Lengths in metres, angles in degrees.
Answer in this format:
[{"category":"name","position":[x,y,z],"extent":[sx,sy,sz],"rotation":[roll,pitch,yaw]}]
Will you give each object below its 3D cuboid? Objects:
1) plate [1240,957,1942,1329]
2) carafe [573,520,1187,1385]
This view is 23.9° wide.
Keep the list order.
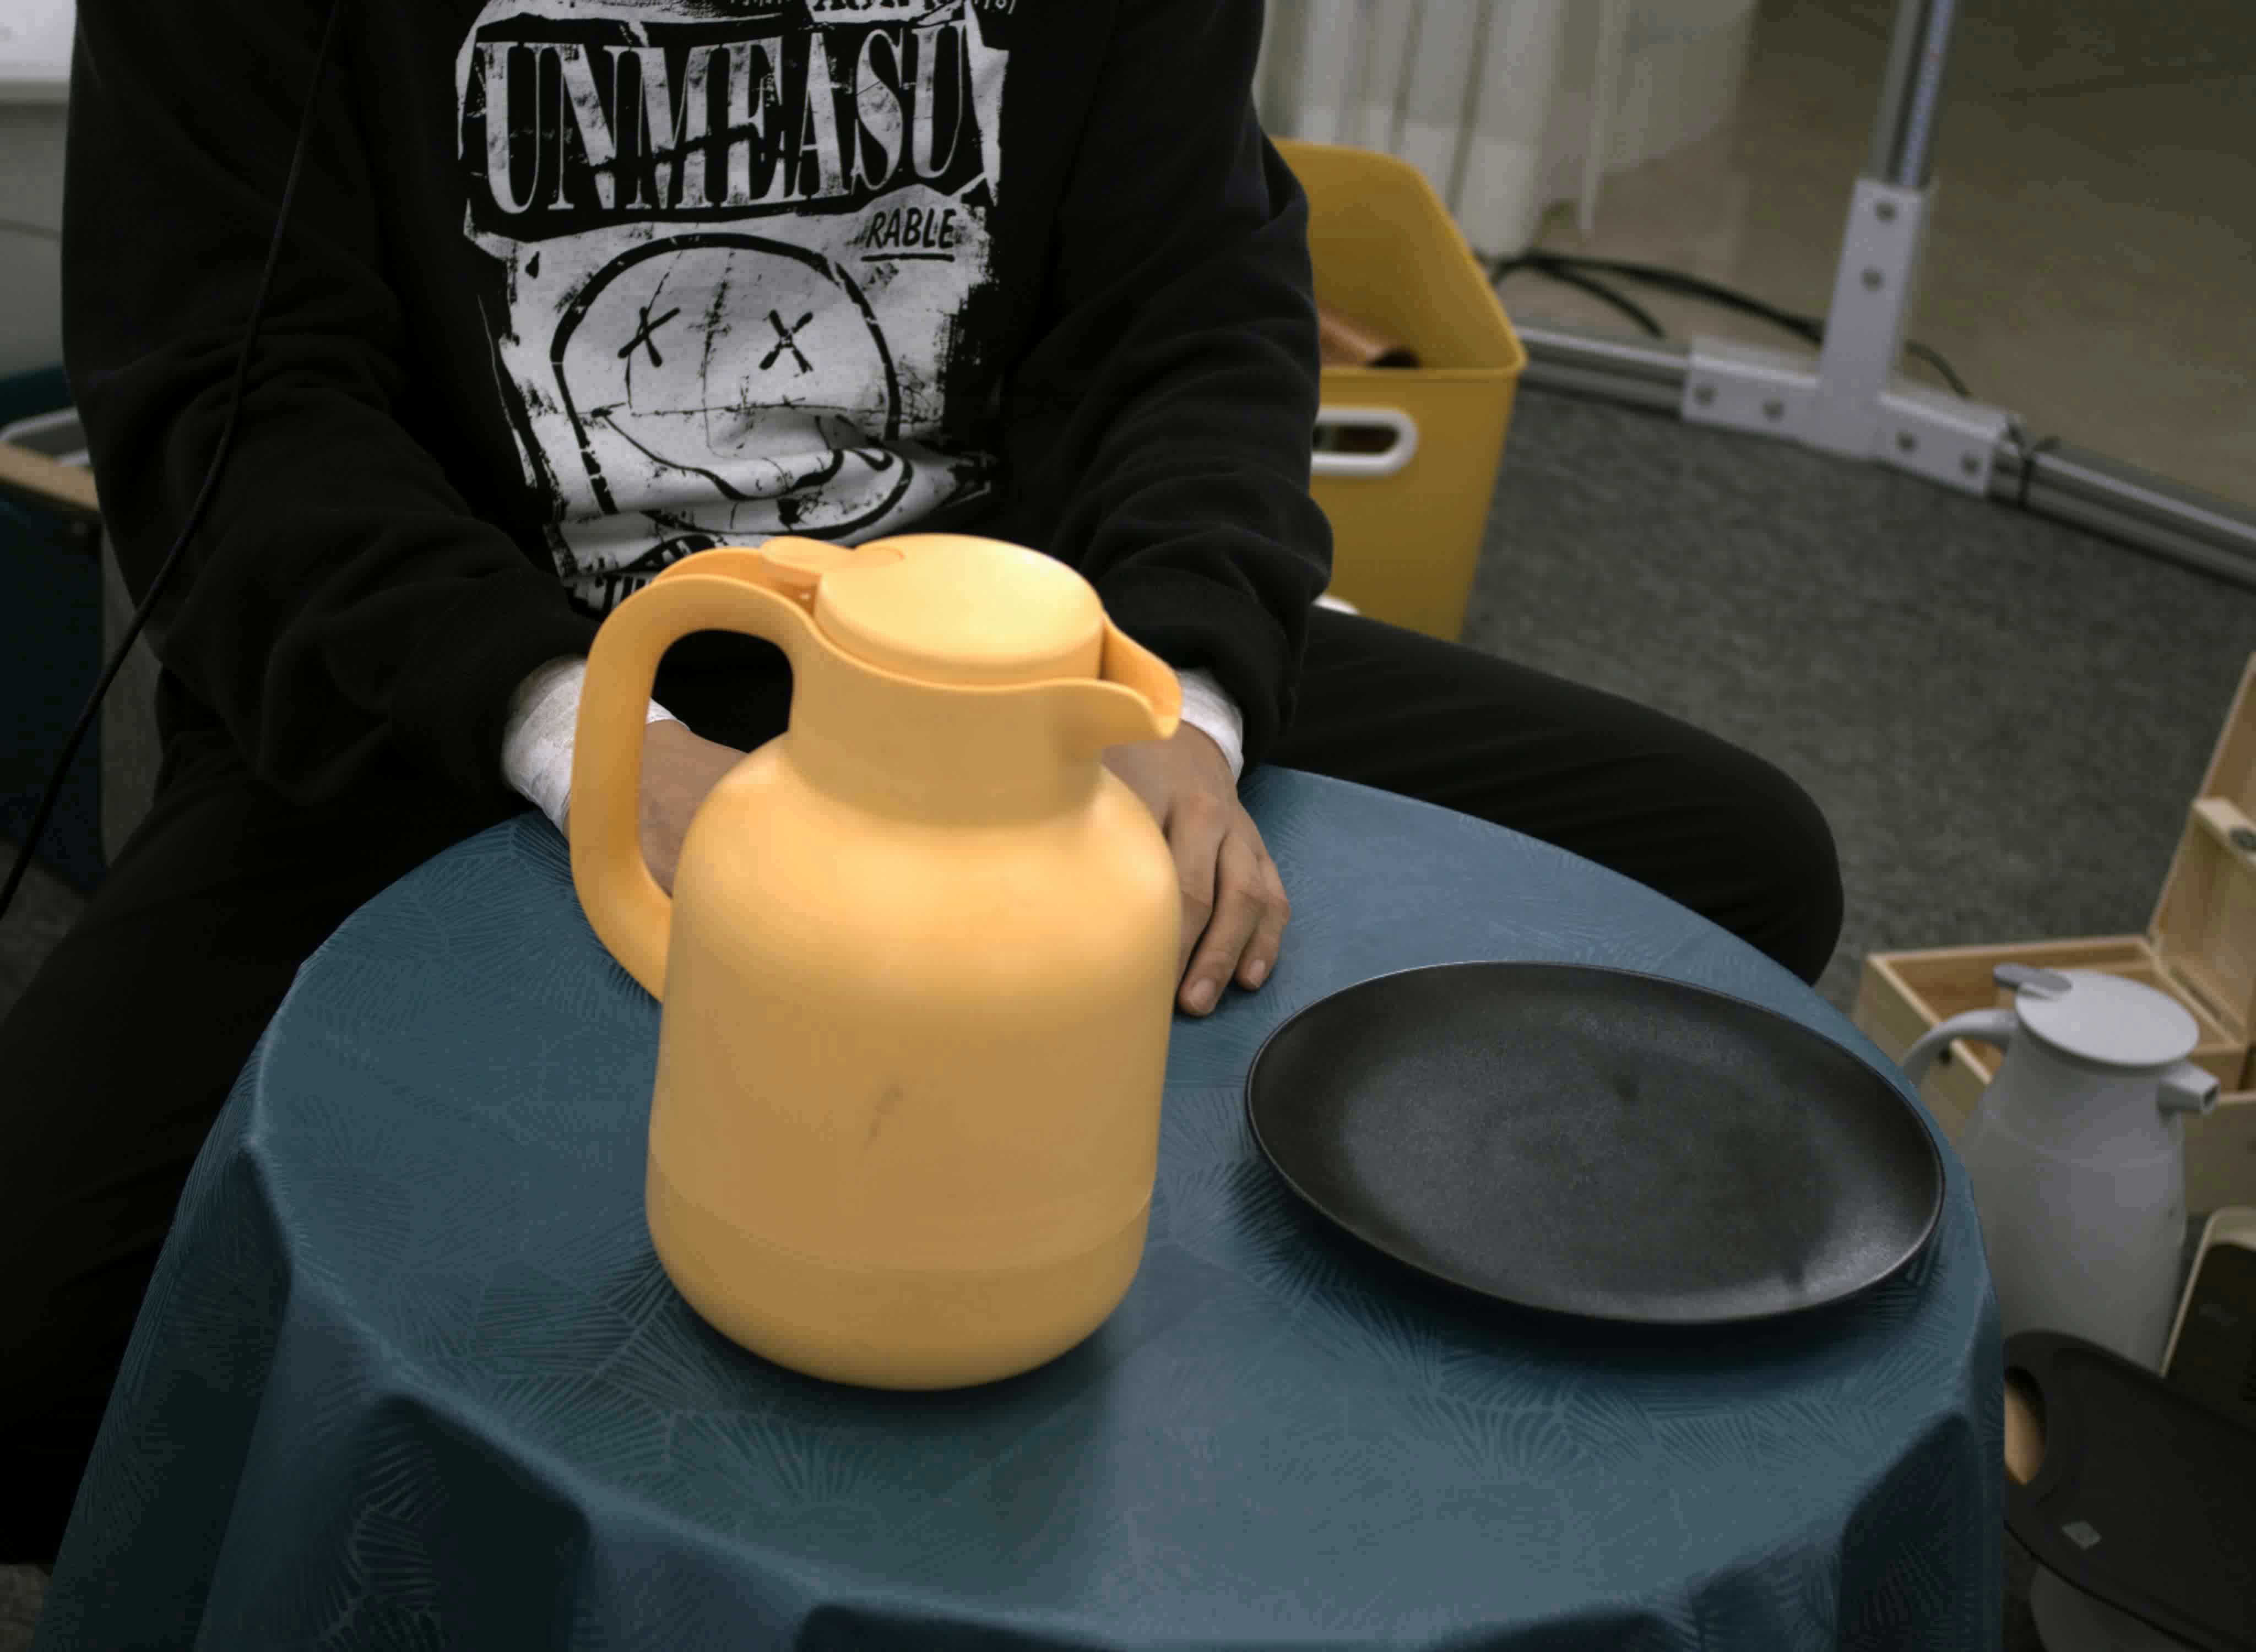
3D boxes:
[{"category":"plate","position":[0.158,0.114,1.834],"extent":[0.243,0.023,0.246],"rotation":[5,27,-3]},{"category":"carafe","position":[-0.083,0.029,1.682],"extent":[0.203,0.260,0.163],"rotation":[19,26,20]}]
